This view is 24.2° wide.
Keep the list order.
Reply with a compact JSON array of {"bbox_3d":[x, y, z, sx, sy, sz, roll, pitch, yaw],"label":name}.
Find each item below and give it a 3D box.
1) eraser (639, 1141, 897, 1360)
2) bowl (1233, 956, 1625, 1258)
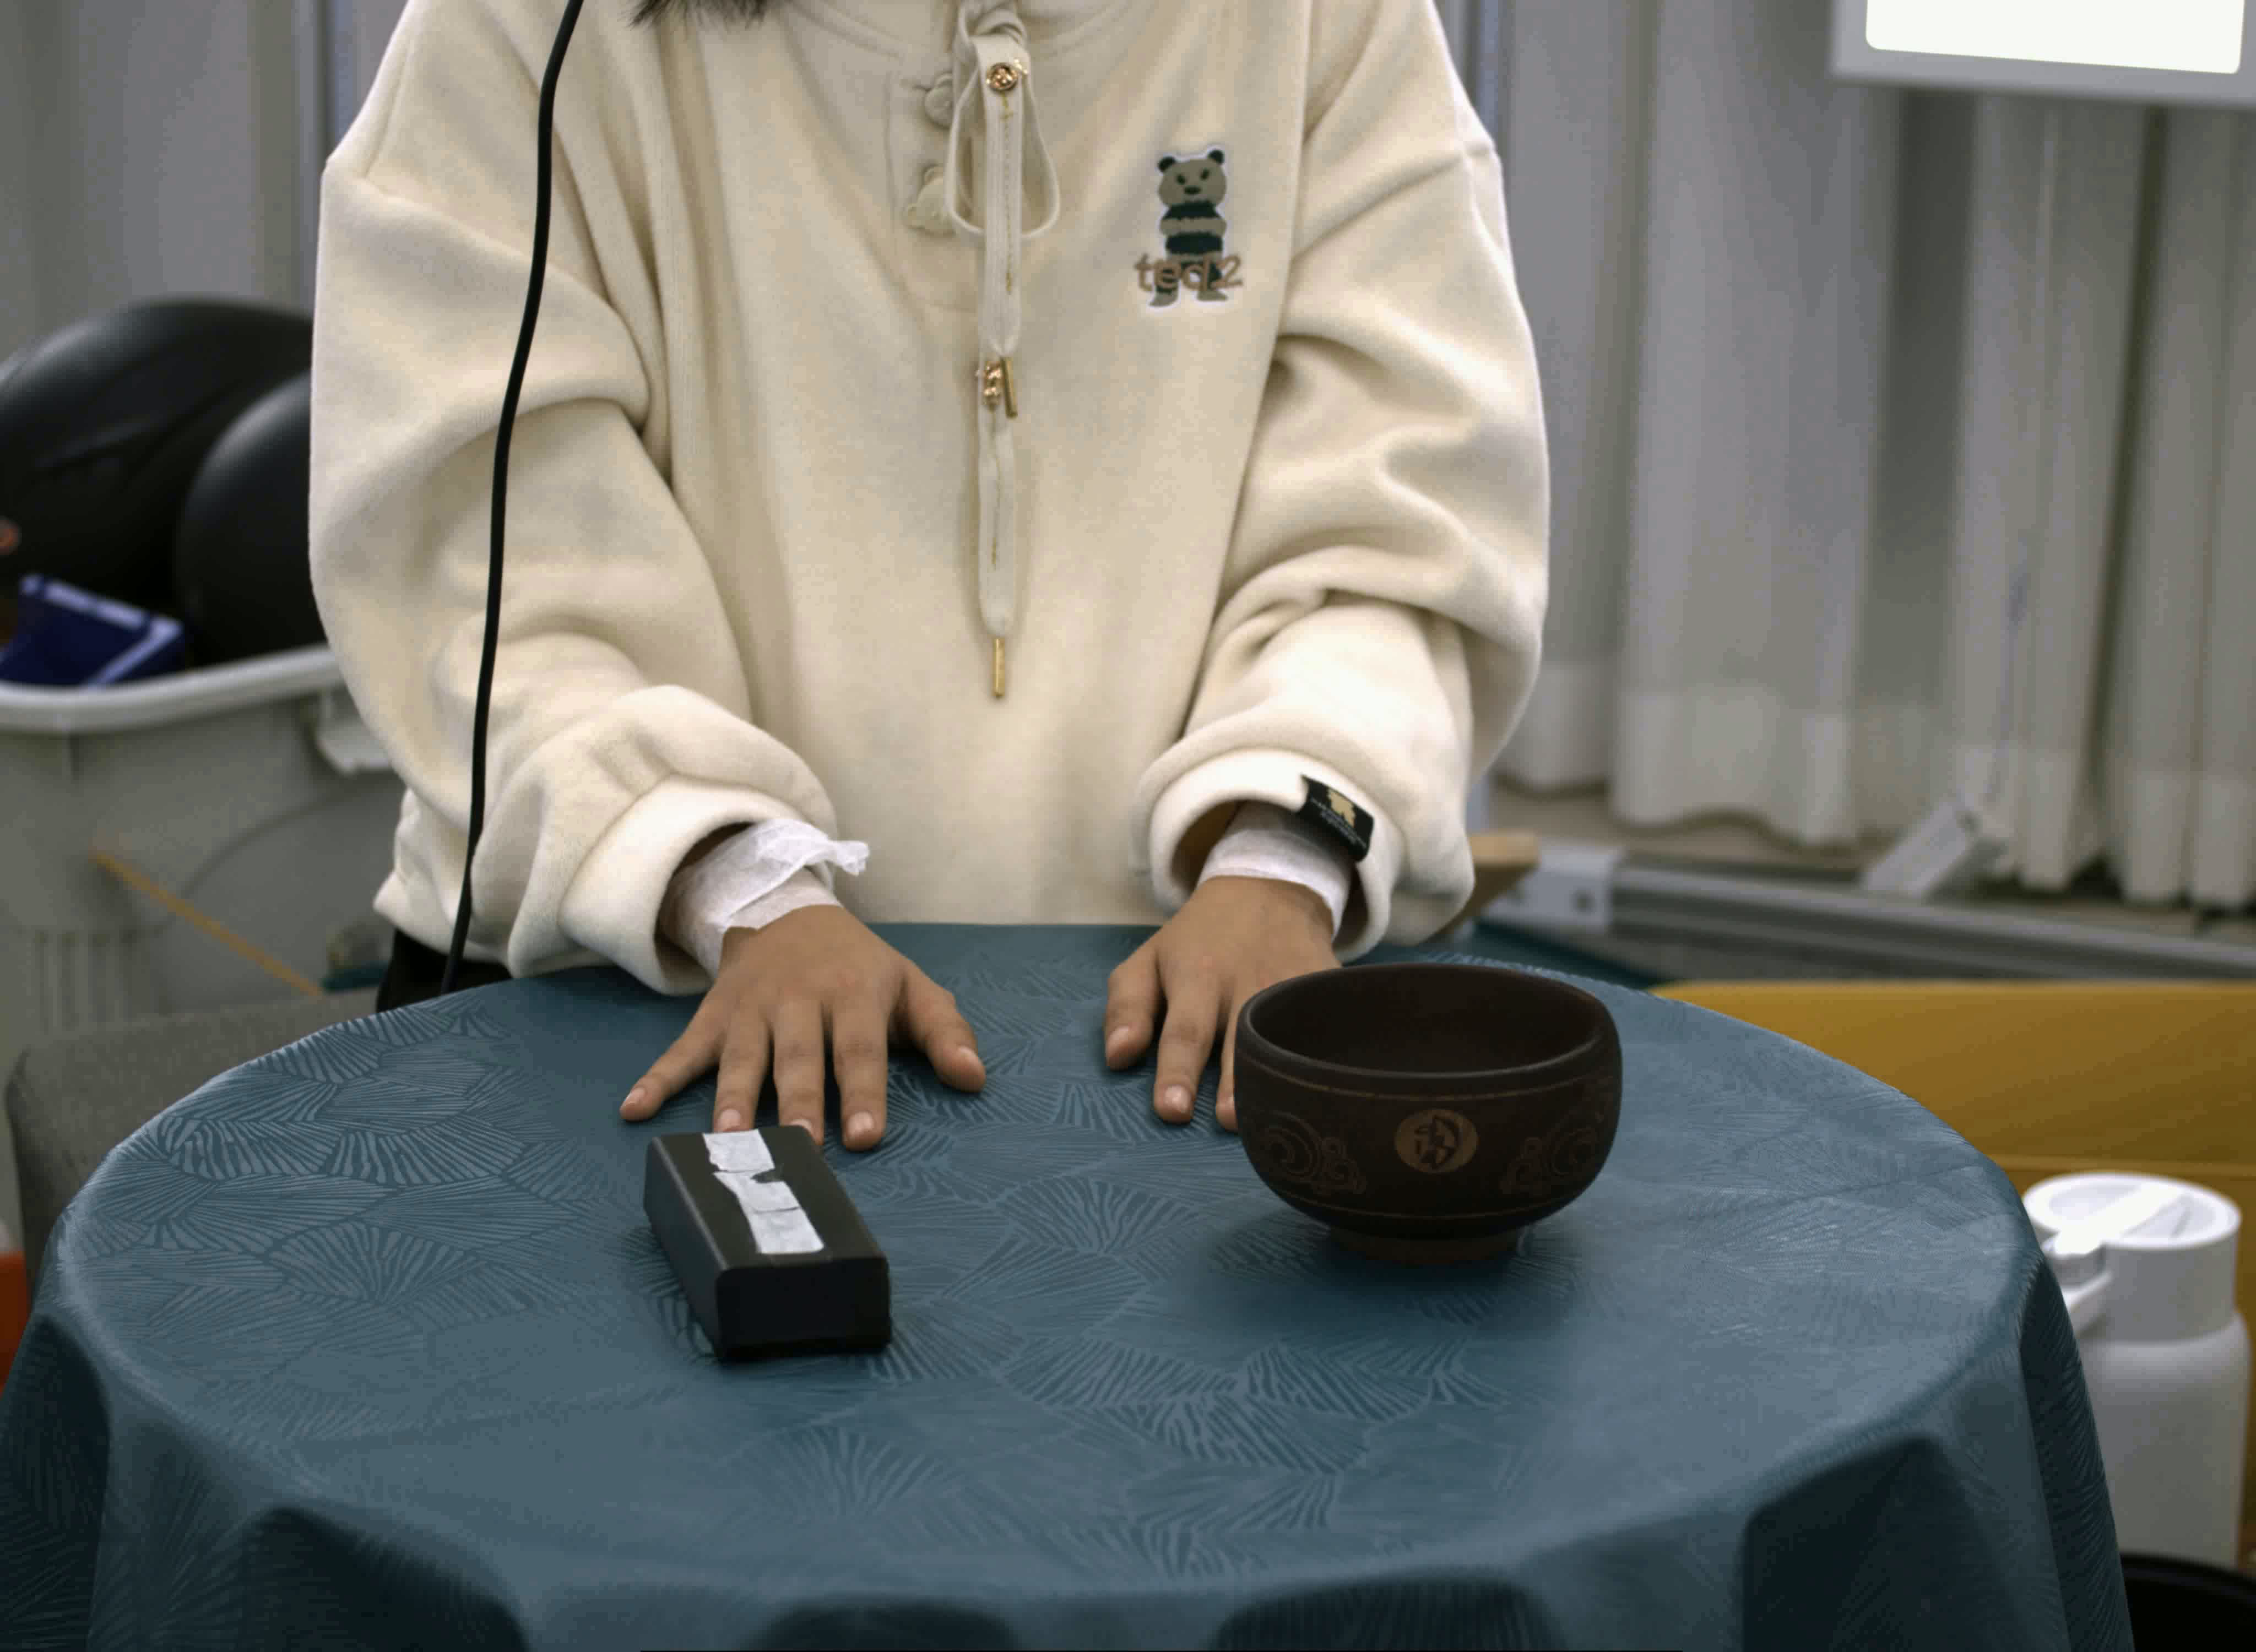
[{"bbox_3d":[-0.106,0.122,1.532,0.053,0.030,0.124,-3,14,-15],"label":"eraser"},{"bbox_3d":[0.090,0.088,1.577,0.117,0.070,0.117,0,15,1],"label":"bowl"}]
